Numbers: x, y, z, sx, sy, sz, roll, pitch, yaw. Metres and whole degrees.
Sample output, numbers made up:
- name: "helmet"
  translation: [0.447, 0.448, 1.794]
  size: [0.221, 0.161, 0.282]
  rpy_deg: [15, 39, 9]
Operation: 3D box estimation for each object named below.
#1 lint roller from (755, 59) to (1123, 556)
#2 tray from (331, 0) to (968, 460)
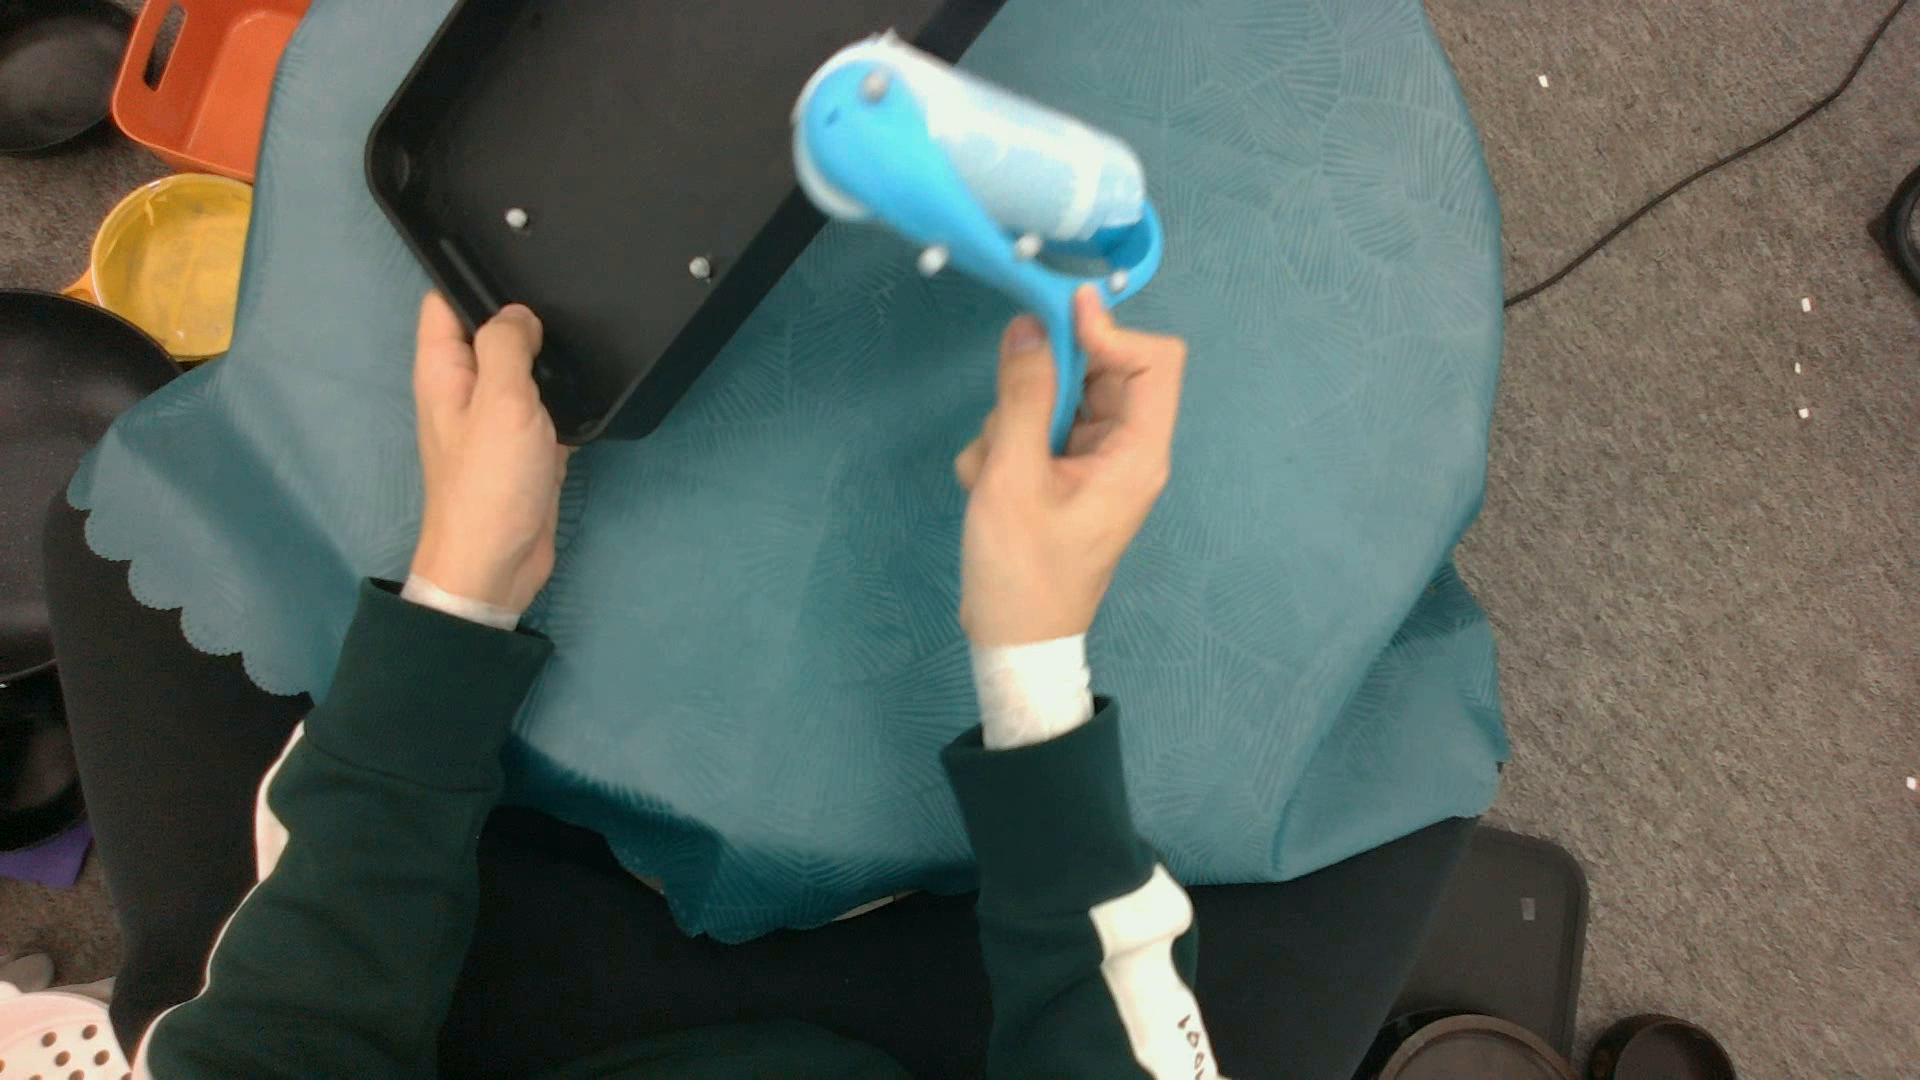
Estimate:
- name: "lint roller"
  translation: [0.009, -0.086, 0.542]
  size: [0.068, 0.230, 0.180]
  rpy_deg: [-8, 96, 27]
- name: "tray"
  translation: [-0.115, -0.199, 0.541]
  size: [0.184, 0.037, 0.317]
  rpy_deg: [48, 109, 16]
